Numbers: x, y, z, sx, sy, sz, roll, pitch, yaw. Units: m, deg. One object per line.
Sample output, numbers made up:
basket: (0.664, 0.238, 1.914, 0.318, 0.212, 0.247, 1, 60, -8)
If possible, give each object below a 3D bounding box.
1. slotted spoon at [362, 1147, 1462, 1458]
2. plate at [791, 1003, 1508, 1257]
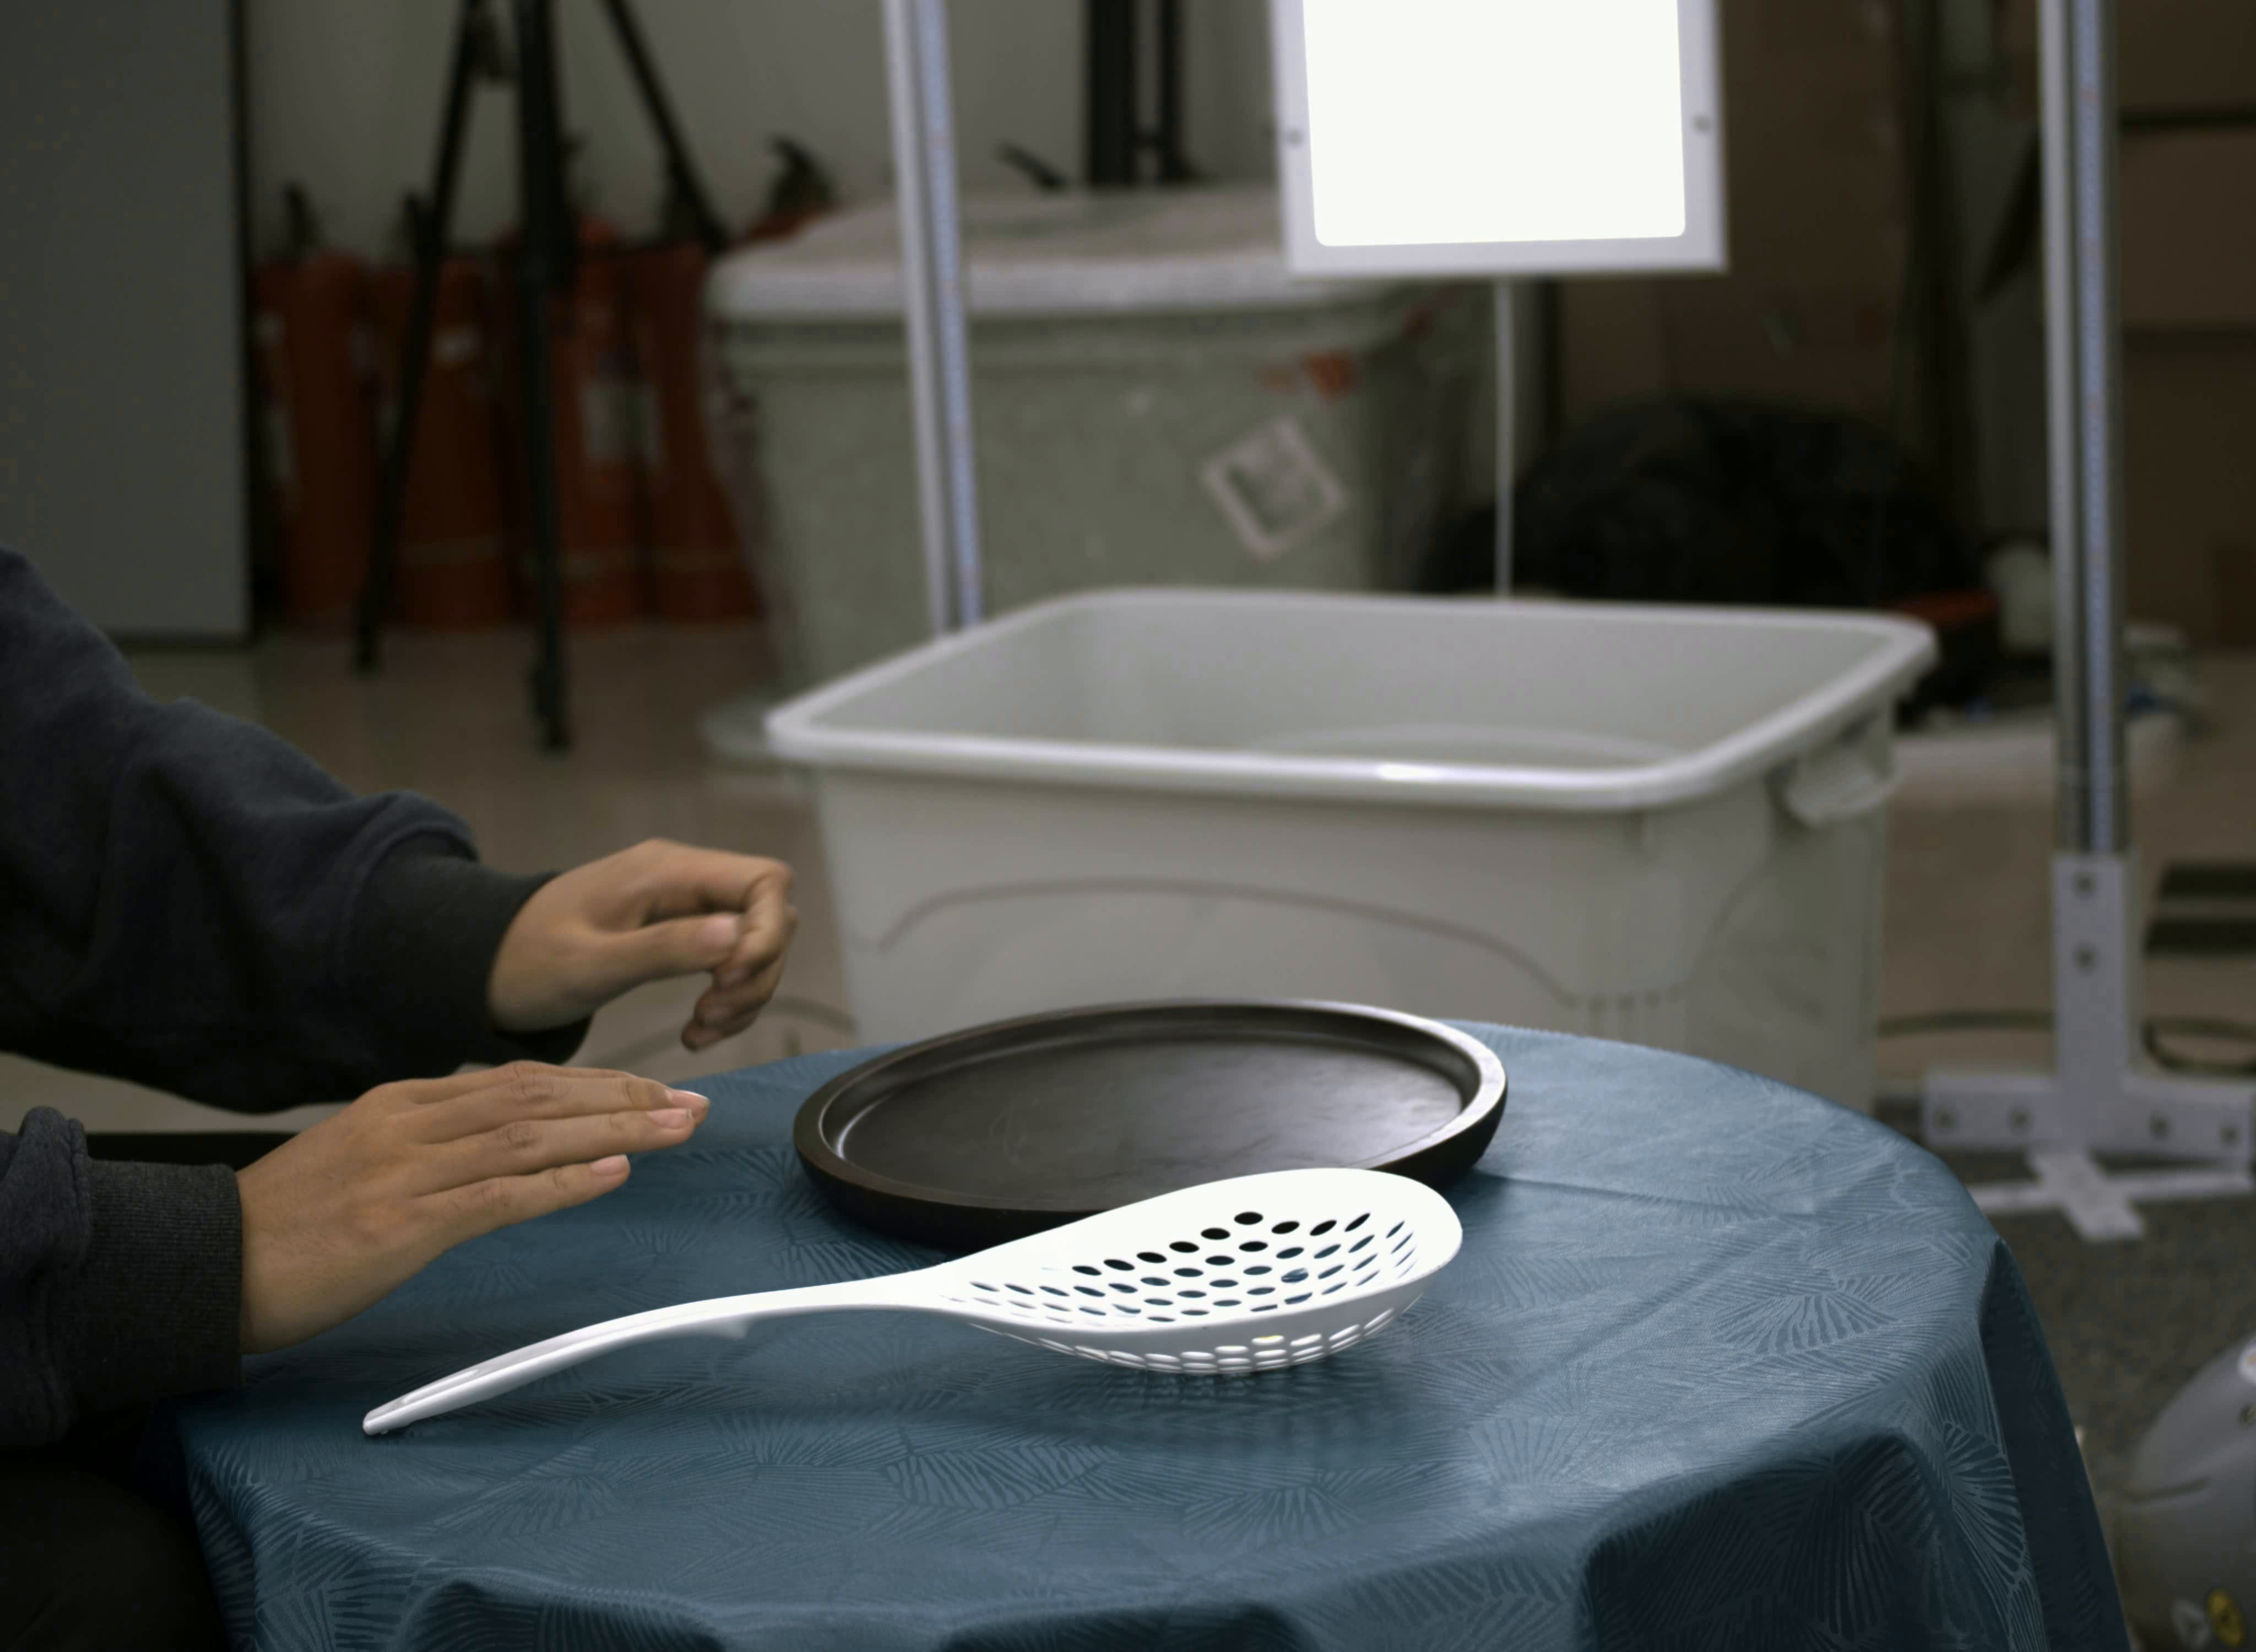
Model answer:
slotted spoon: (-0.067, 0.155, 1.718, 0.347, 0.050, 0.136, -5, 16, 0)
plate: (0.008, 0.105, 1.932, 0.254, 0.029, 0.254, -5, 15, 0)
